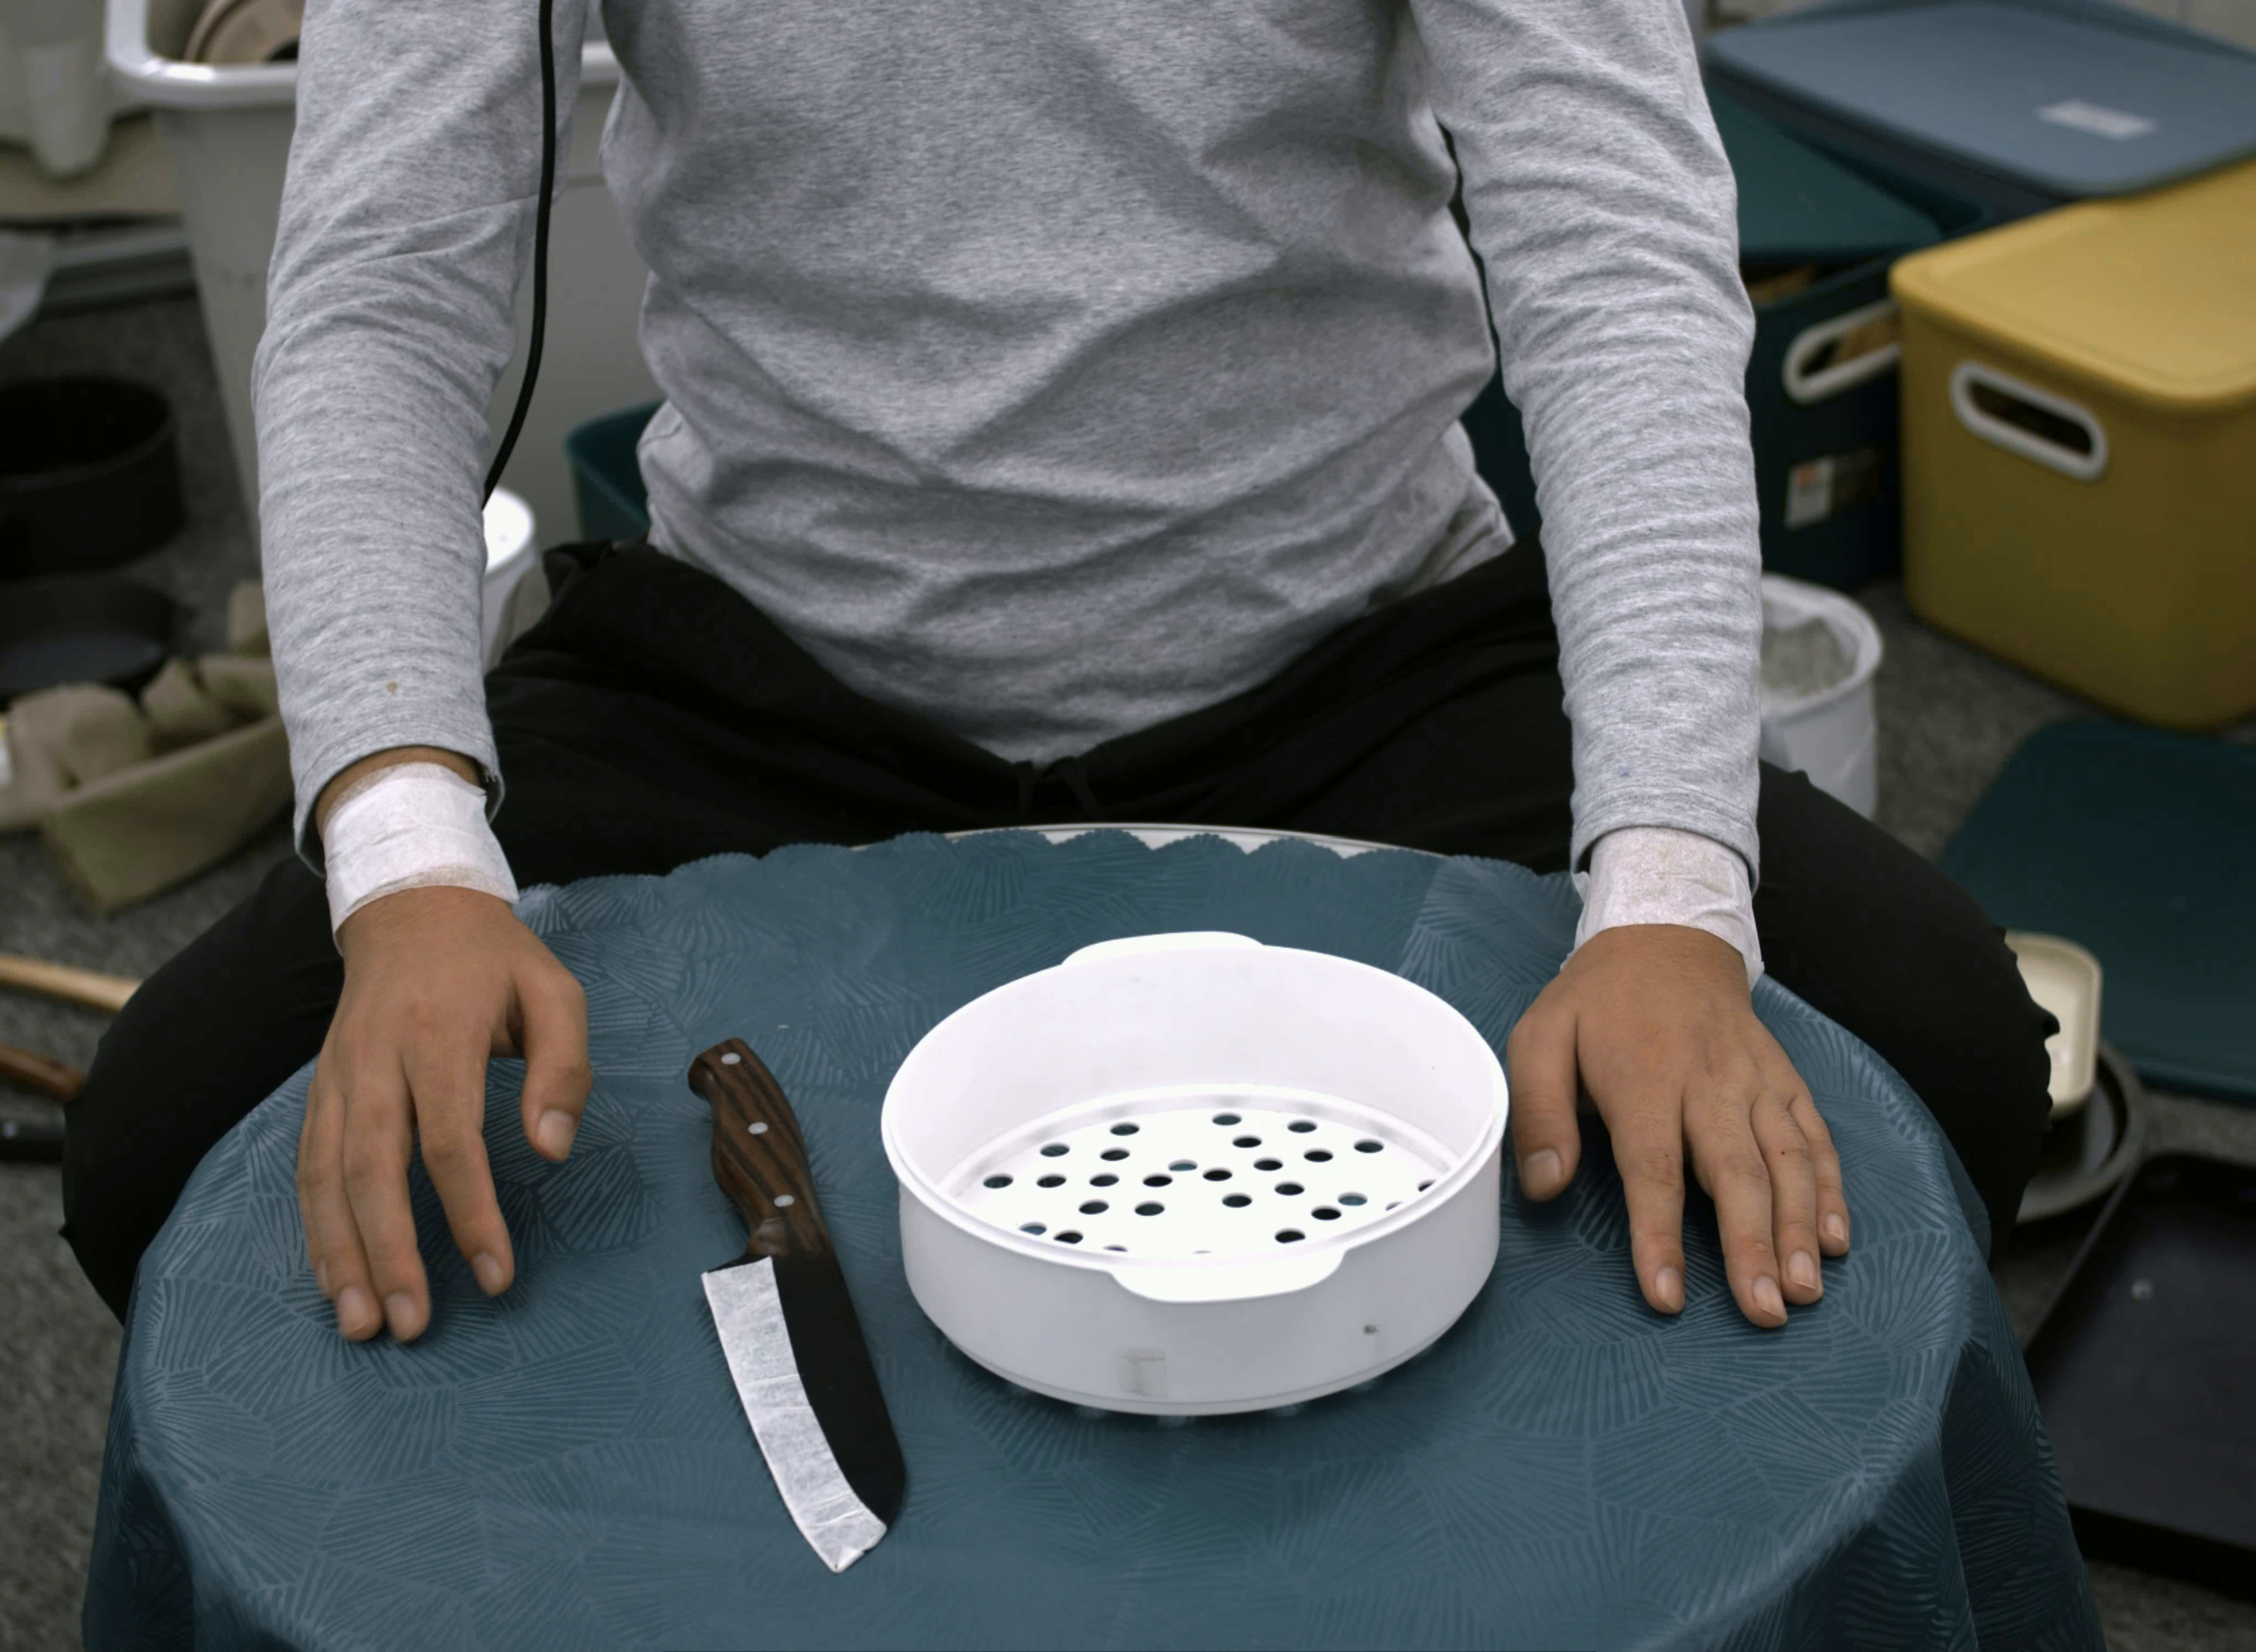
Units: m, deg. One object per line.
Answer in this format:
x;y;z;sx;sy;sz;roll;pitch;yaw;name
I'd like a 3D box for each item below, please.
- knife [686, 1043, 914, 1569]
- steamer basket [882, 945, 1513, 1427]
-0.110;0.151;1.798;0.050;0.020;0.293;-11;31;-6;knife
0.023;0.117;1.798;0.201;0.068;0.233;-4;26;-4;steamer basket
